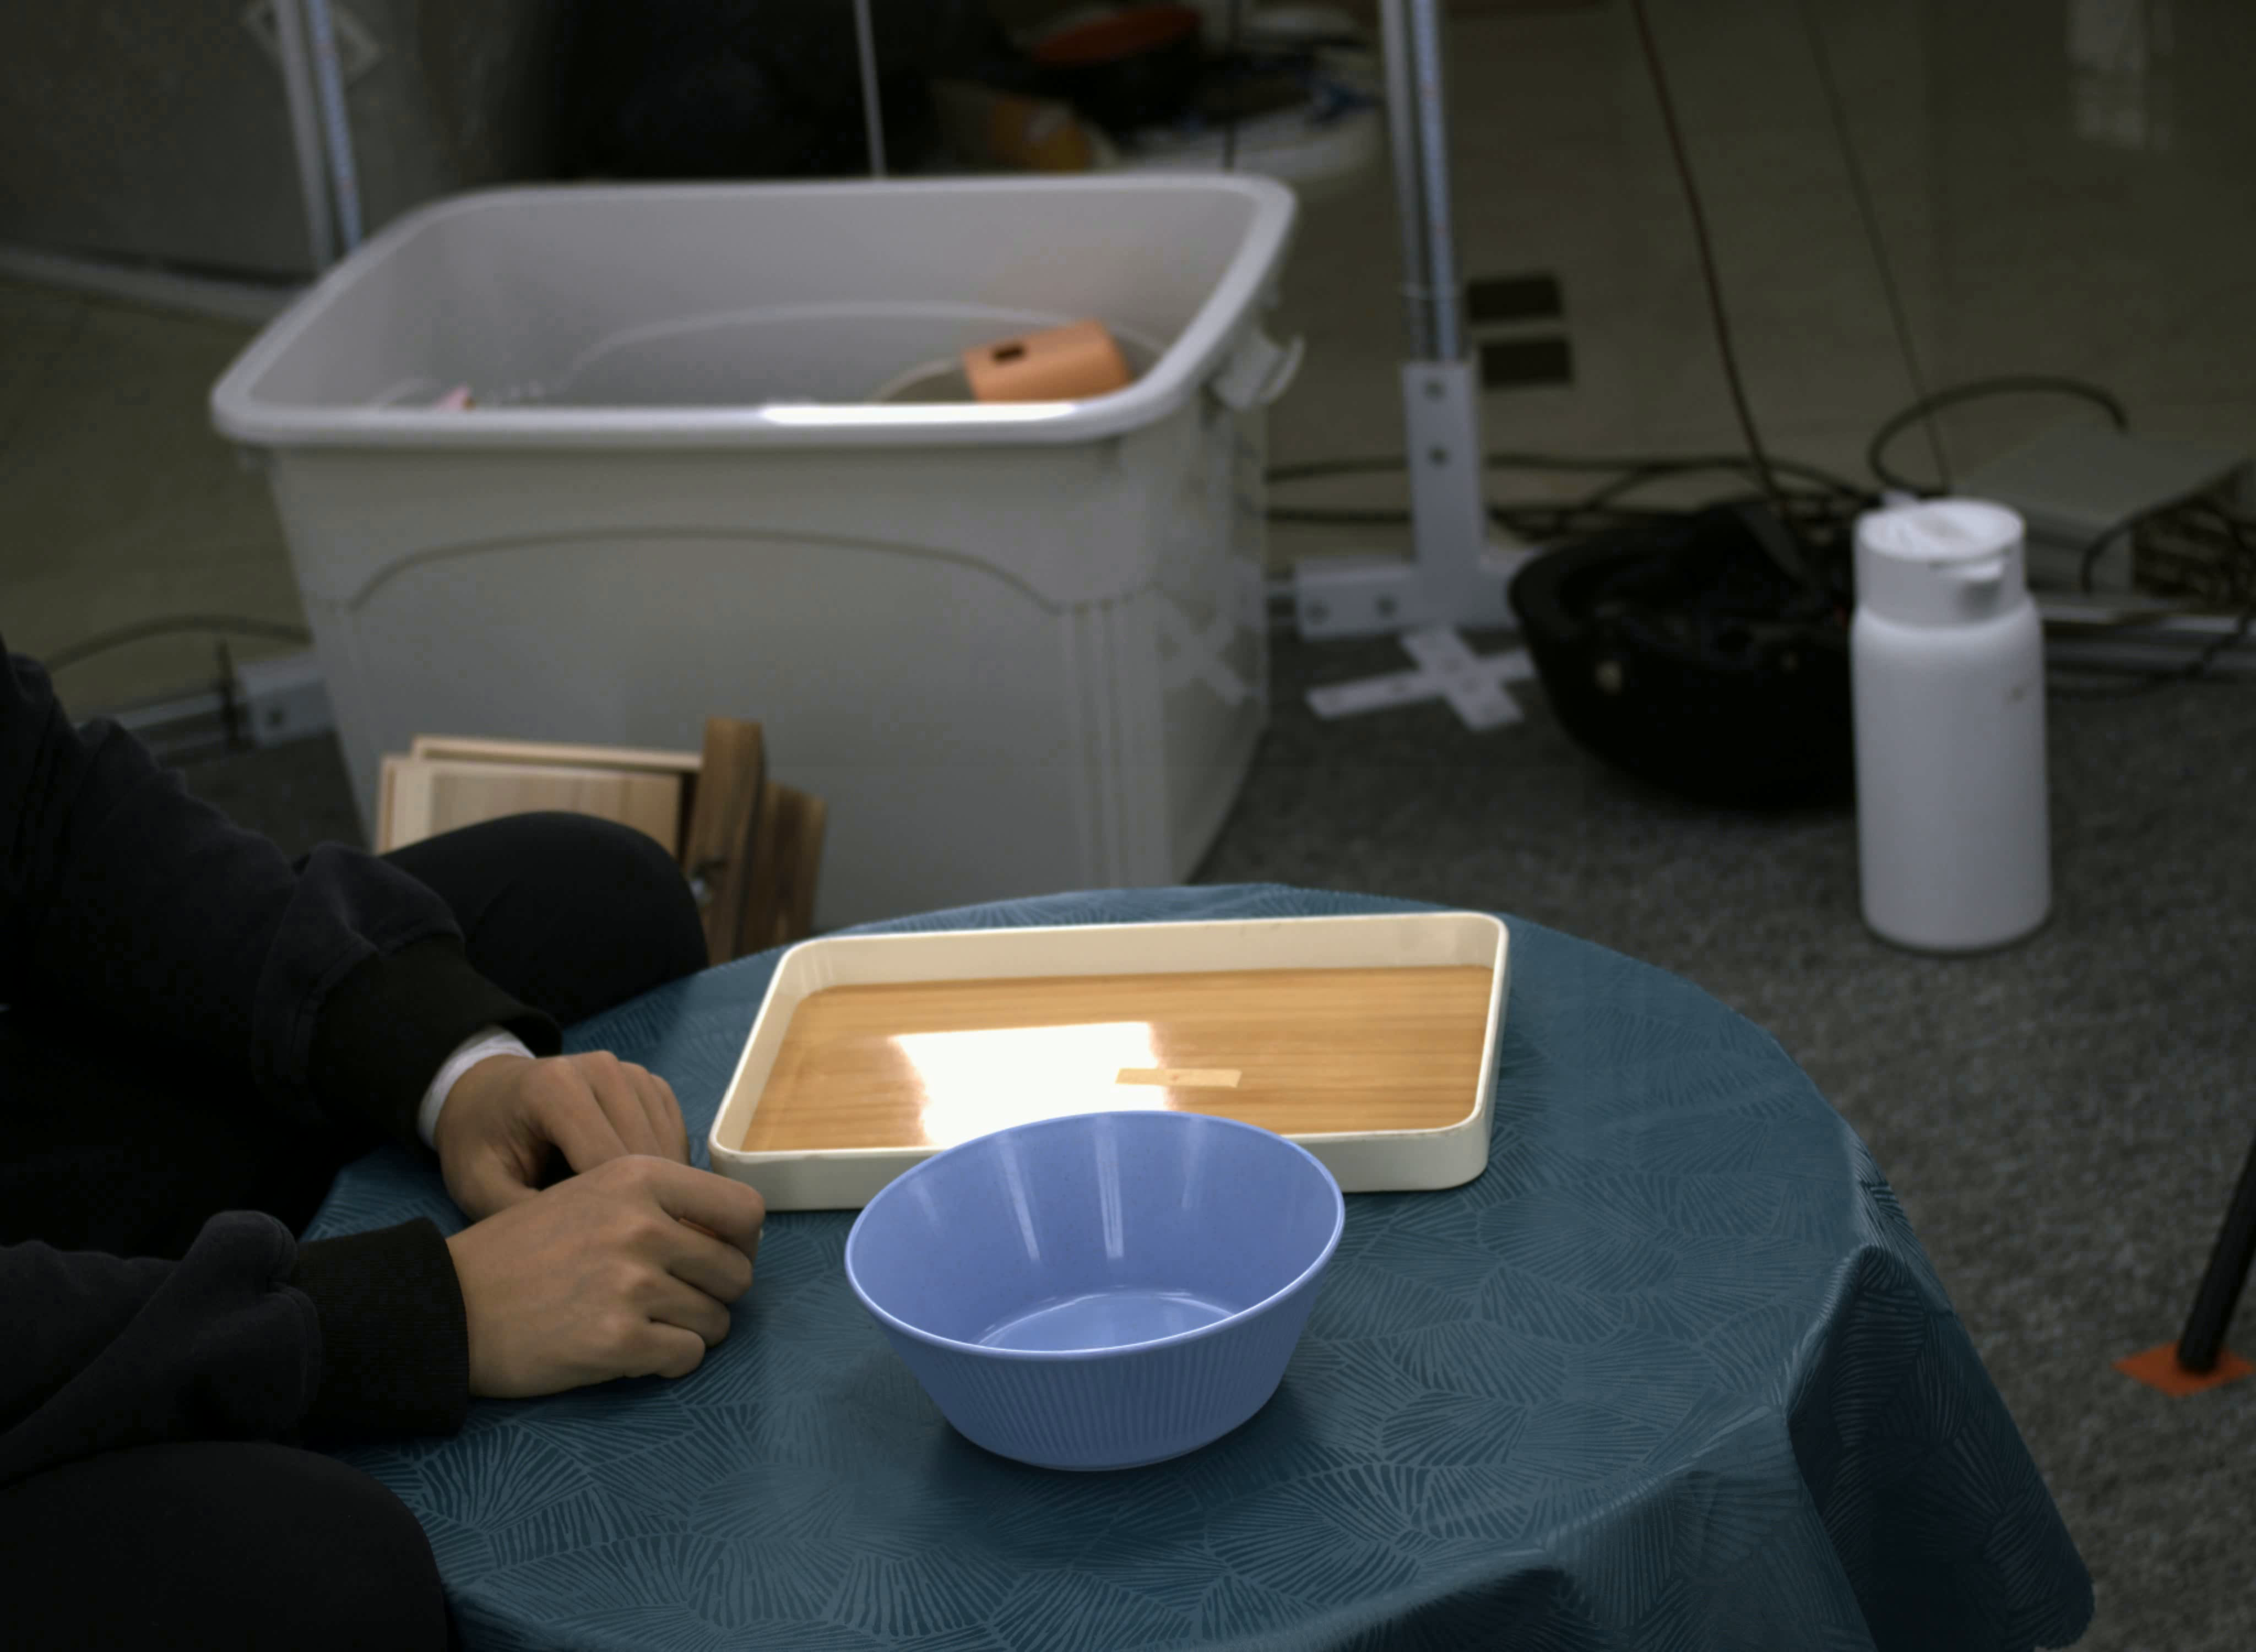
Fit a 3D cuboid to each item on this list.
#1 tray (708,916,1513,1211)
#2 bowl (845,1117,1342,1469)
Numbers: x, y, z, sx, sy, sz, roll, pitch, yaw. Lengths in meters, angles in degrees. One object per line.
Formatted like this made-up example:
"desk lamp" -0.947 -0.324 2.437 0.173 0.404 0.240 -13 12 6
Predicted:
"tray" -0.003 0.092 2.223 0.300 0.028 0.189 -2 25 9
"bowl" -0.010 0.170 2.002 0.176 0.071 0.173 -4 25 2
